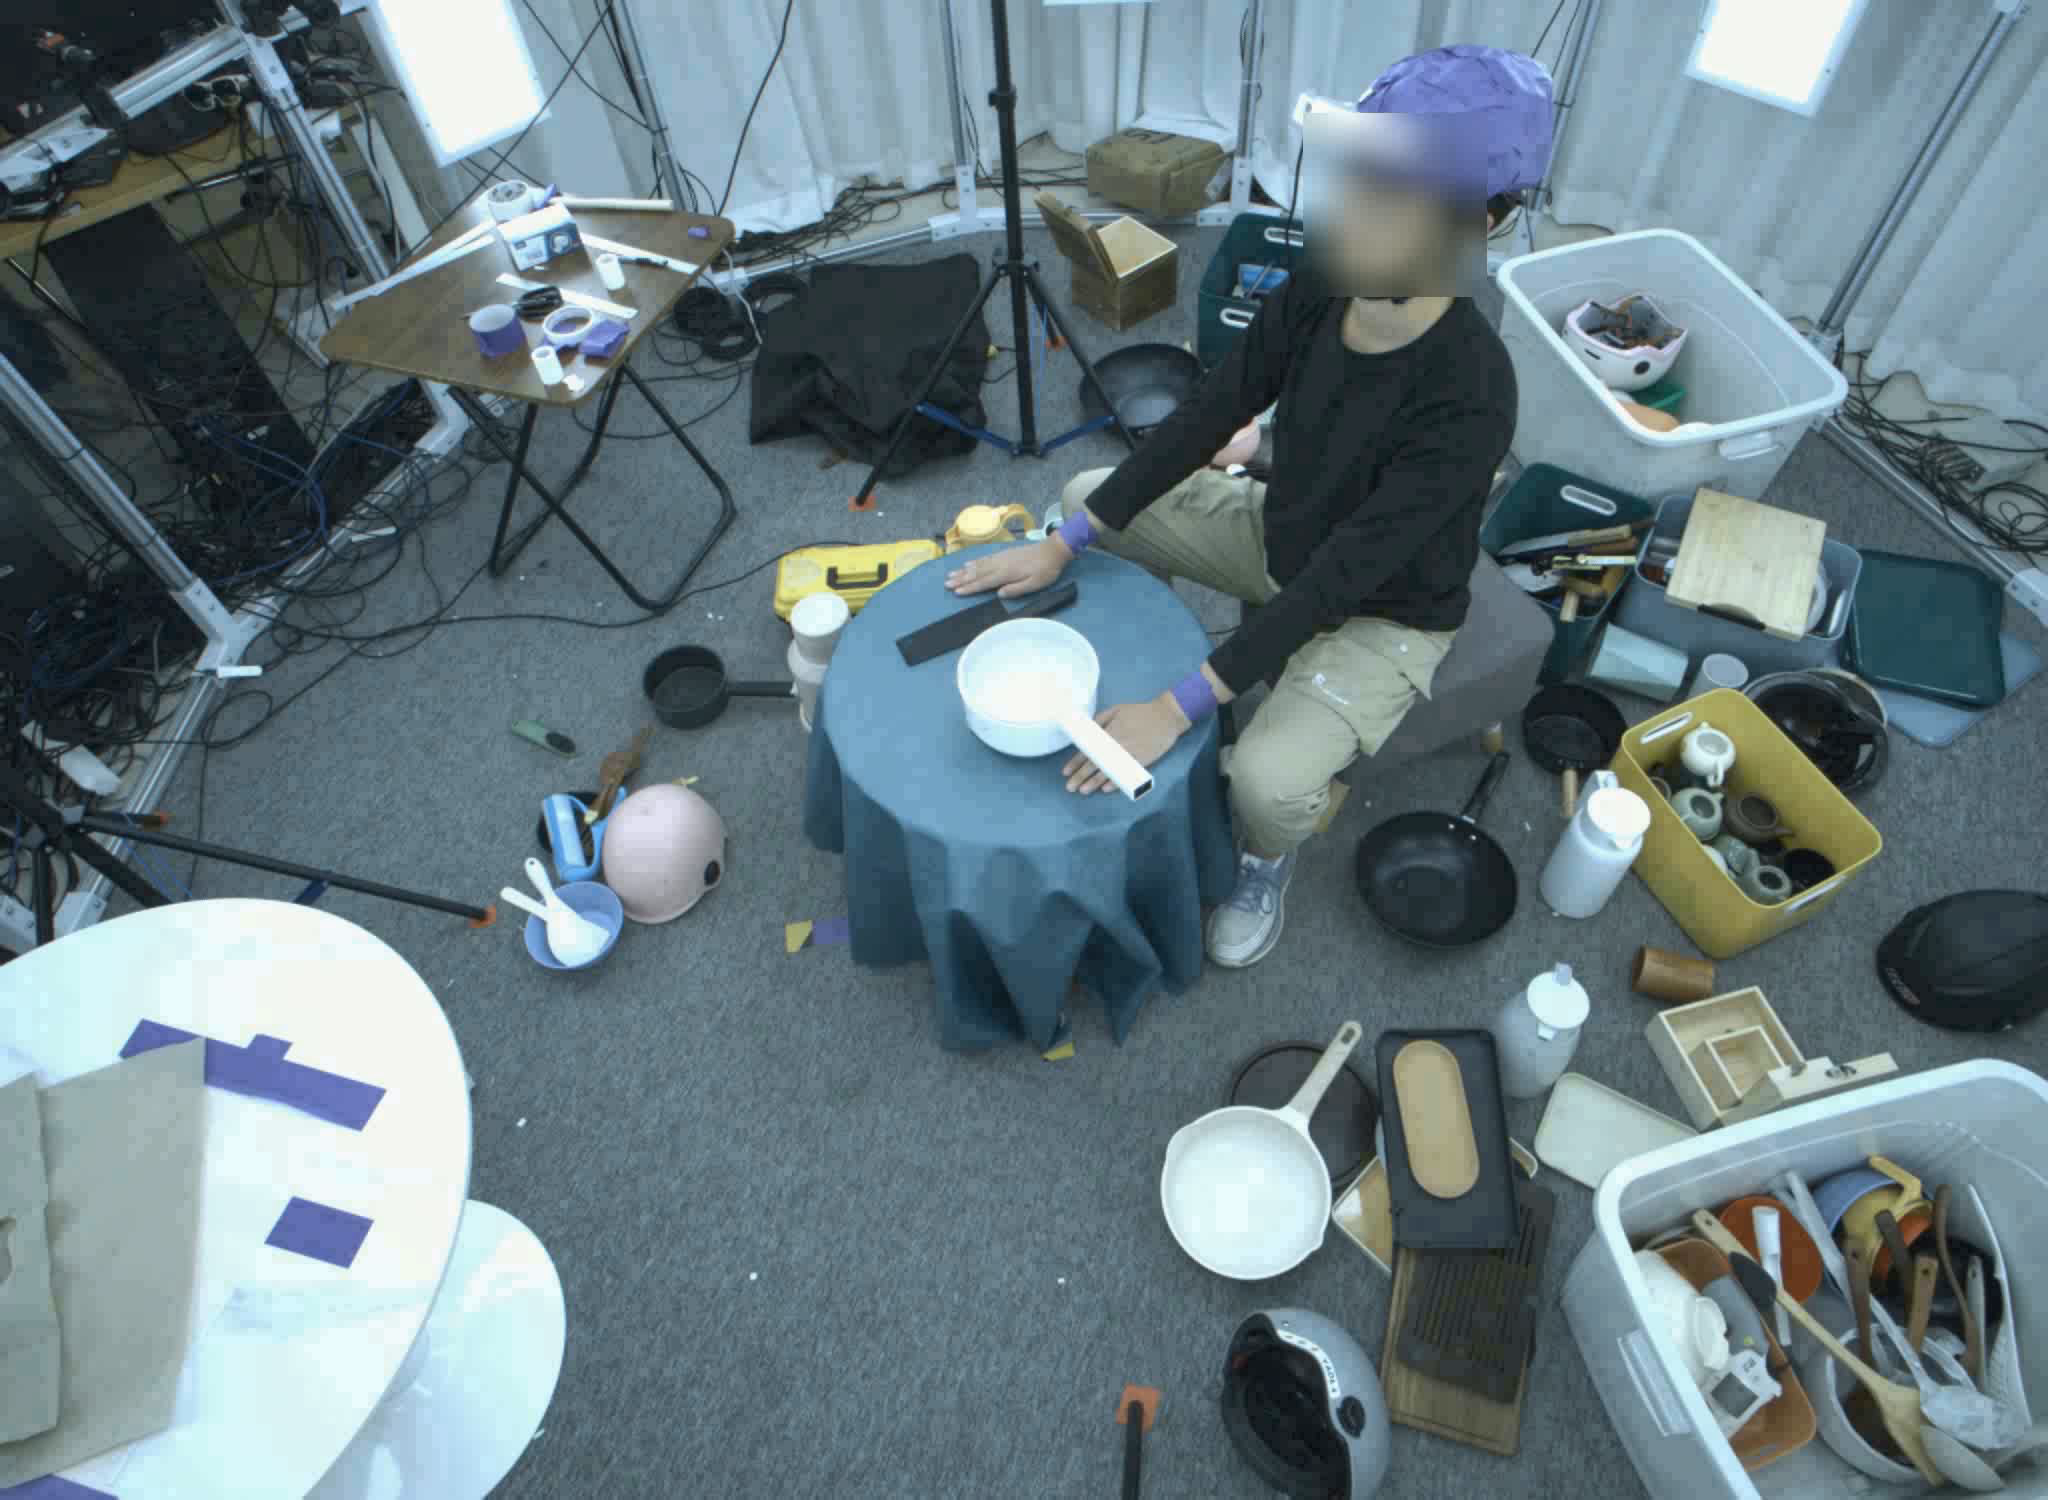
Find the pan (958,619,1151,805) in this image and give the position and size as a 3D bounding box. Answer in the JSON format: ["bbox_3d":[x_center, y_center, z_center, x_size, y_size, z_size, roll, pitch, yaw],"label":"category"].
[{"bbox_3d":[0.053,-0.036,1.748,0.203,0.103,0.348,-32,61,-20],"label":"pan"}]

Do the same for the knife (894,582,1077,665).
[{"bbox_3d":[-0.056,-0.206,1.924,0.304,0.021,0.079,-20,55,-9],"label":"knife"}]
